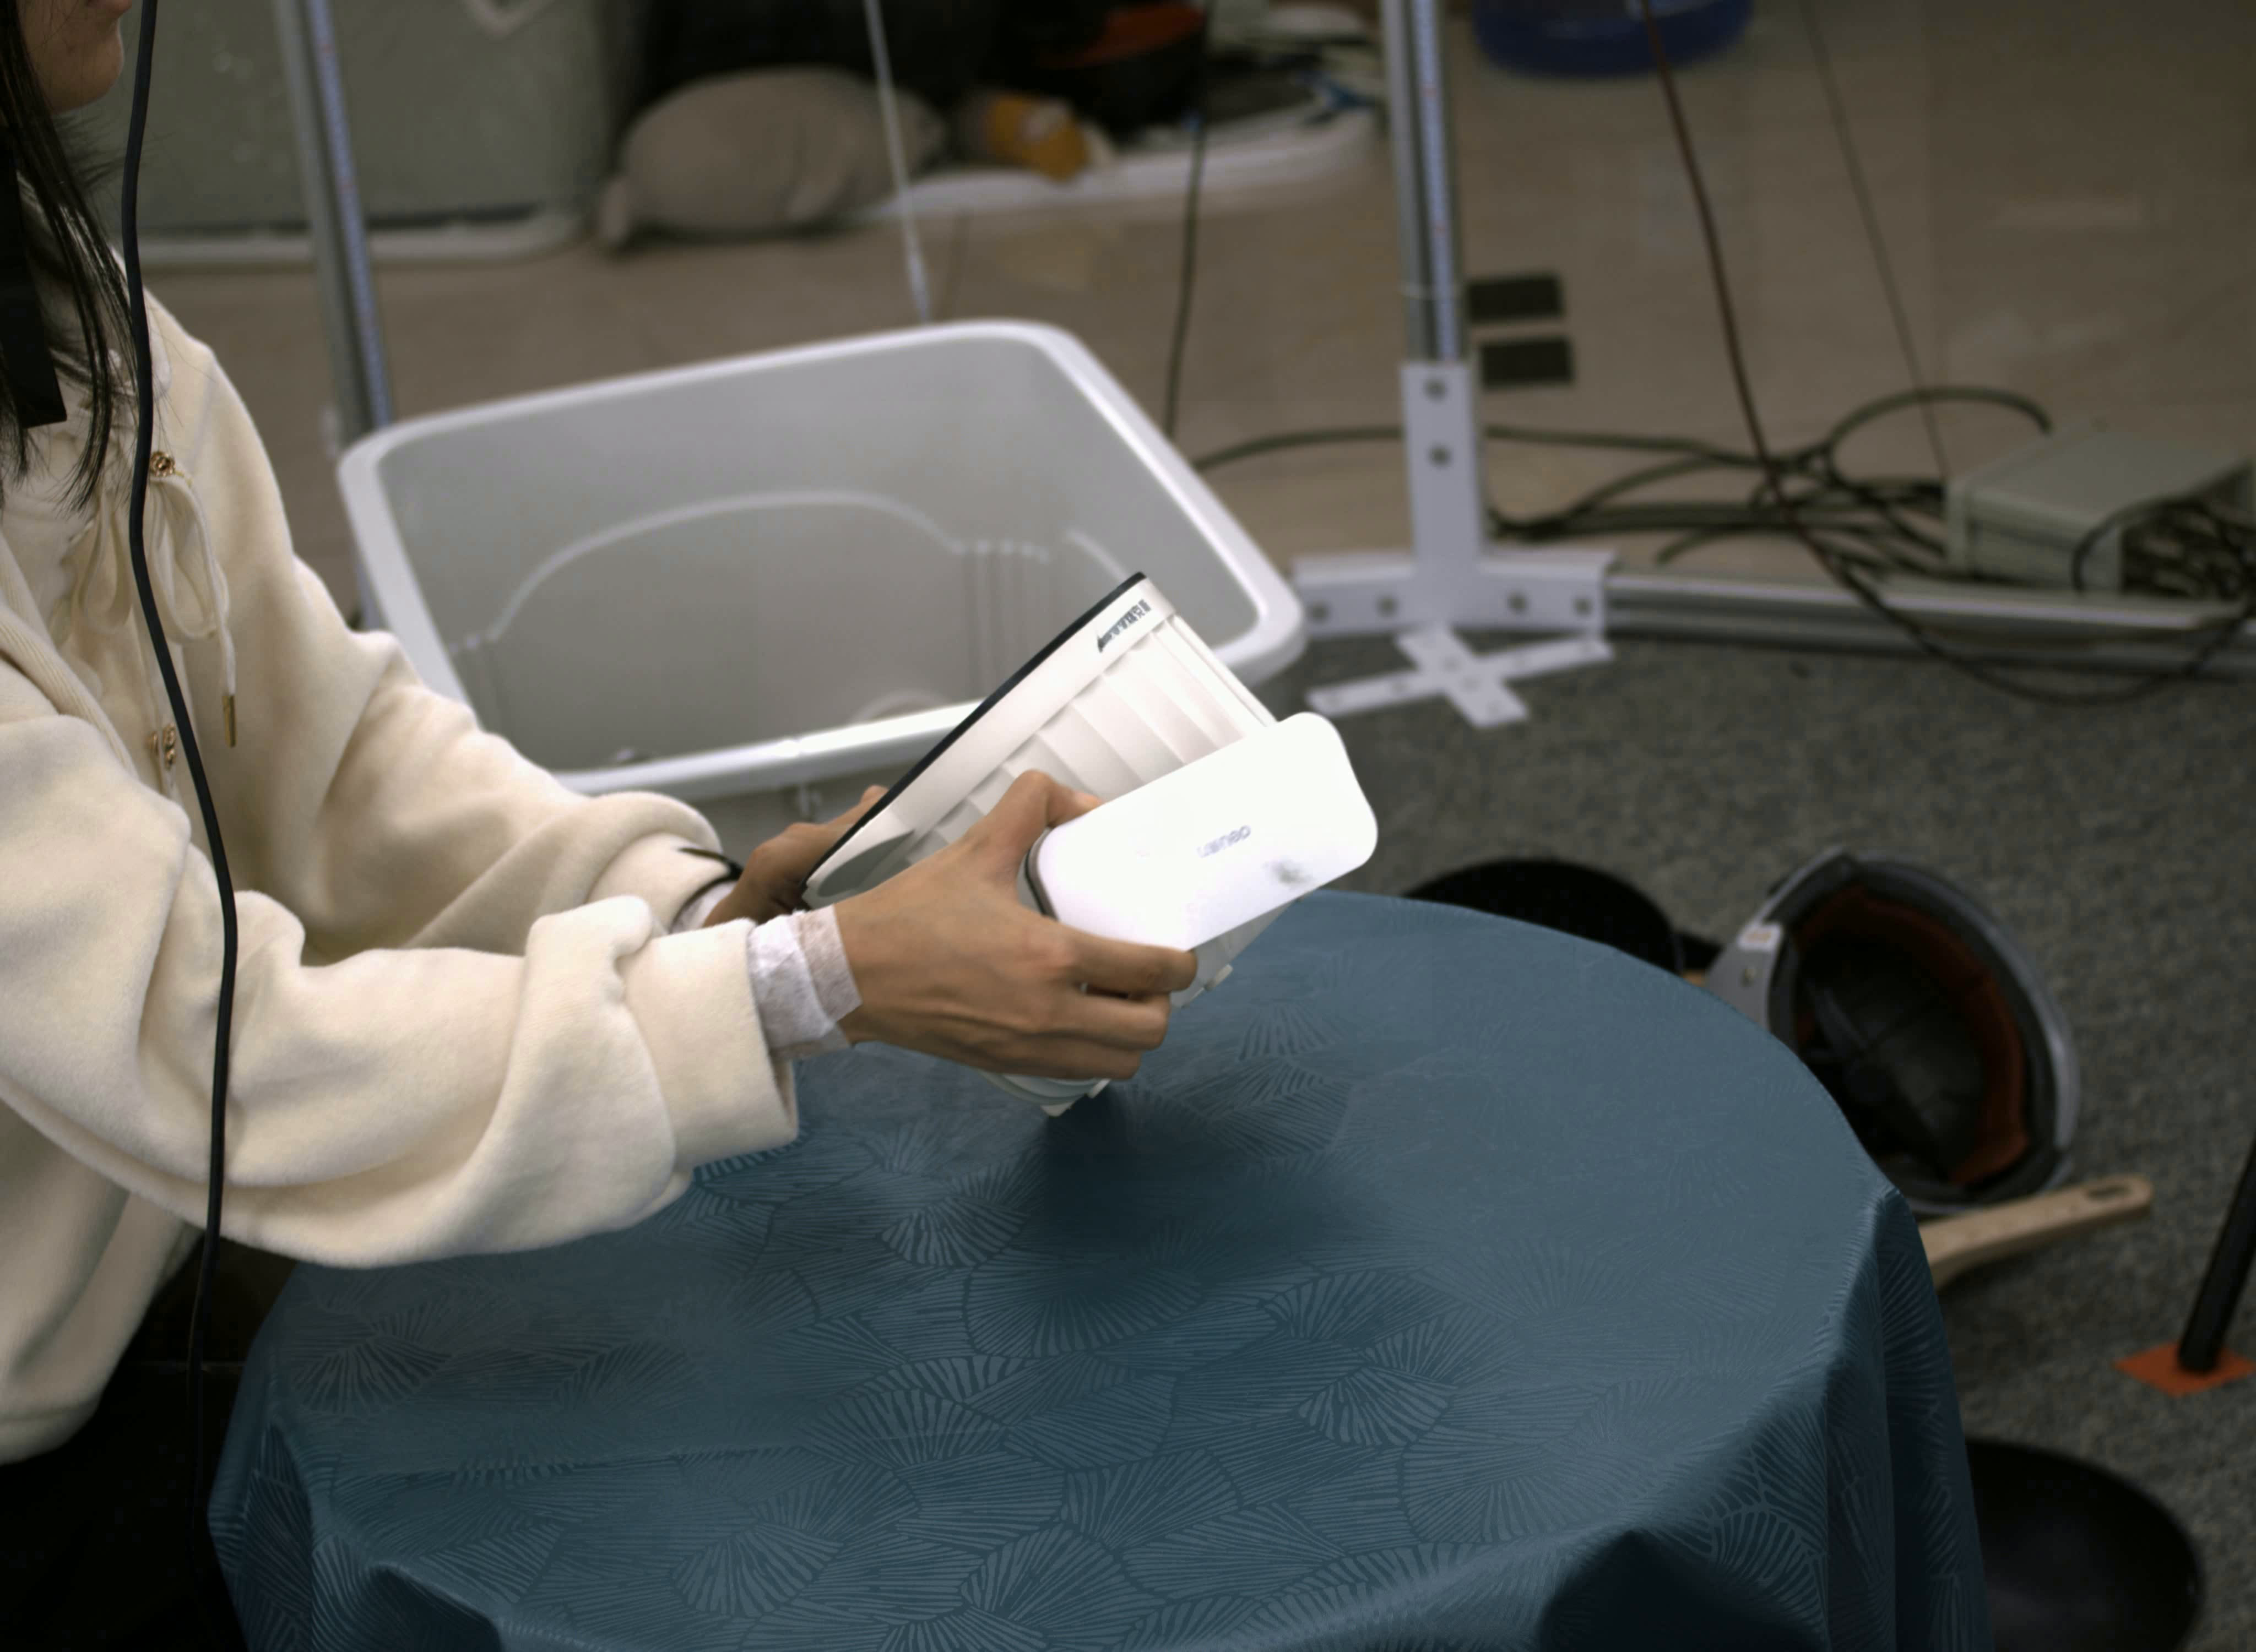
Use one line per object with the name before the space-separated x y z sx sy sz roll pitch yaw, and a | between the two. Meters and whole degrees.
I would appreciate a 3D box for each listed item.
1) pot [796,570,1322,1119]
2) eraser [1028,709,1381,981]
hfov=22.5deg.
pot | -0.012 0.009 2.166 0.142 0.193 0.237 44 38 2
eraser | 0.027 0.006 2.049 0.130 0.063 0.034 -26 2 -23
